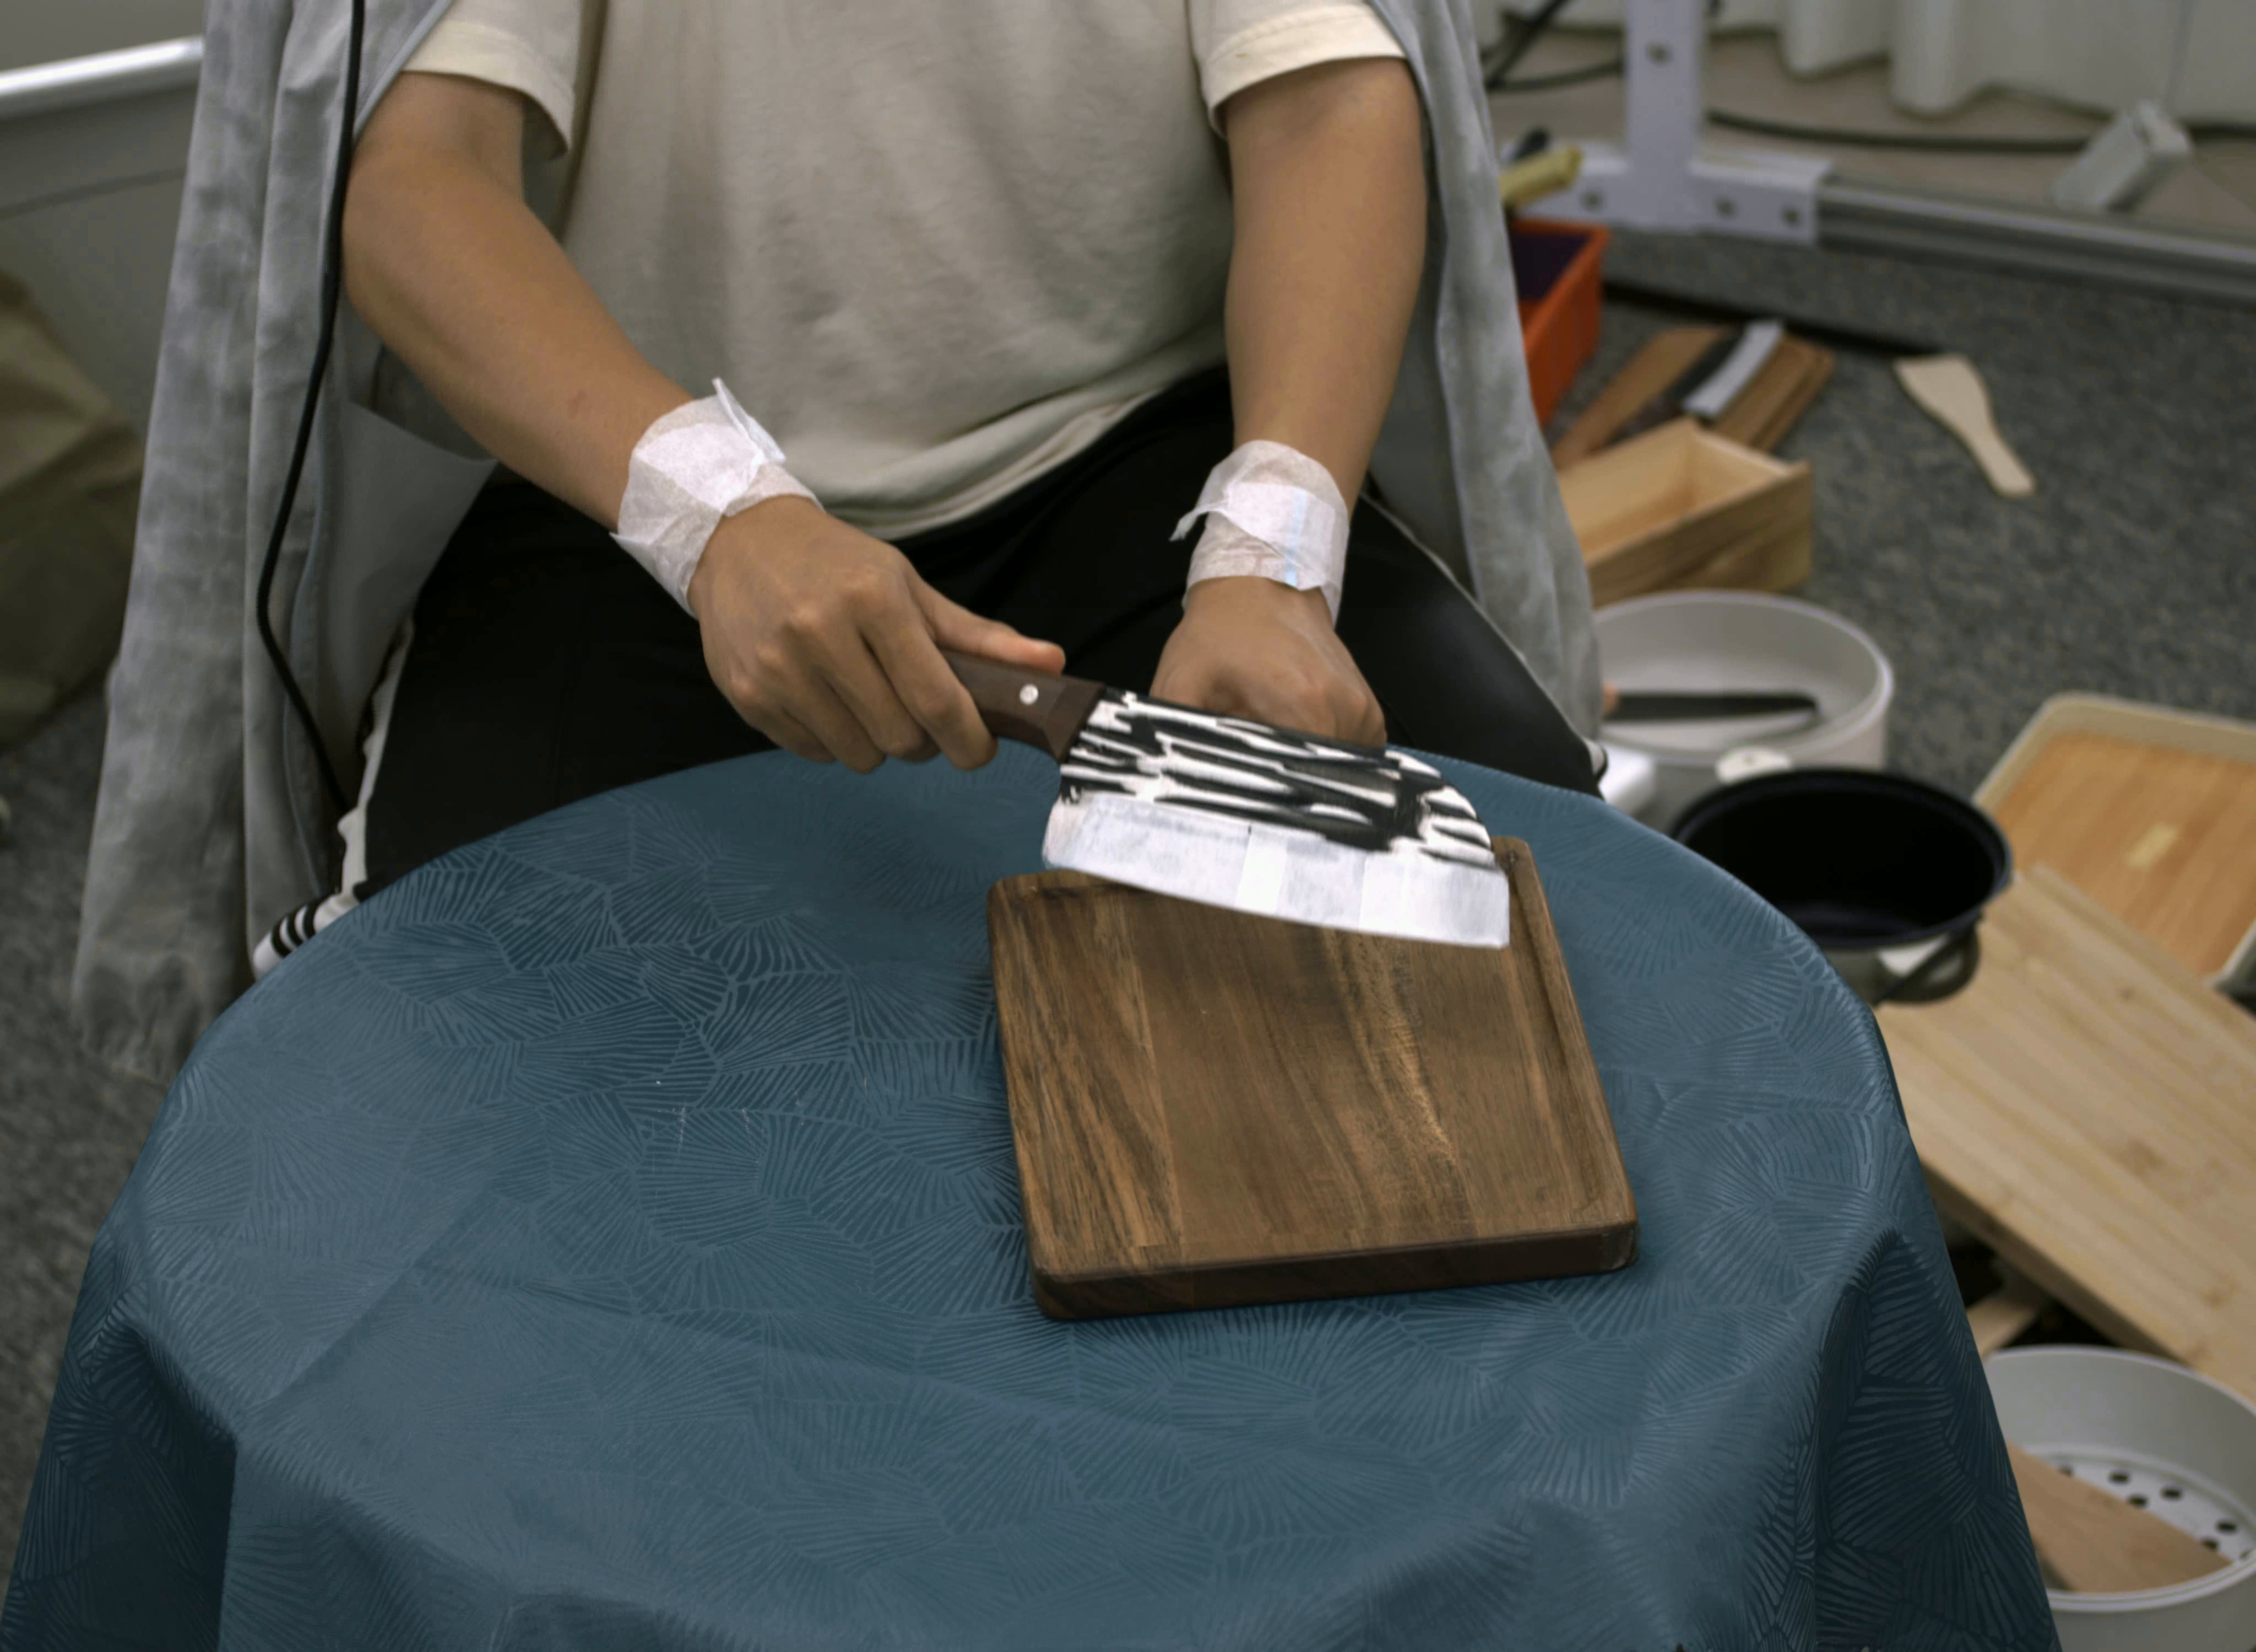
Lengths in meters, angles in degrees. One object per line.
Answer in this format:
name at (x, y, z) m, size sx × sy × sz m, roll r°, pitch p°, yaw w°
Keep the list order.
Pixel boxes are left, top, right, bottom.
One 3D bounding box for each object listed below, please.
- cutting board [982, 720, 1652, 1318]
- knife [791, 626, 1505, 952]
cutting board at (0.053, 0.055, 1.943) m, size 0.200 × 0.023 × 0.357 m, roll -5°, pitch 29°, yaw -4°
knife at (0.002, -0.013, 1.946) m, size 0.298 × 0.024 × 0.069 m, roll 15°, pitch 74°, yaw 26°
